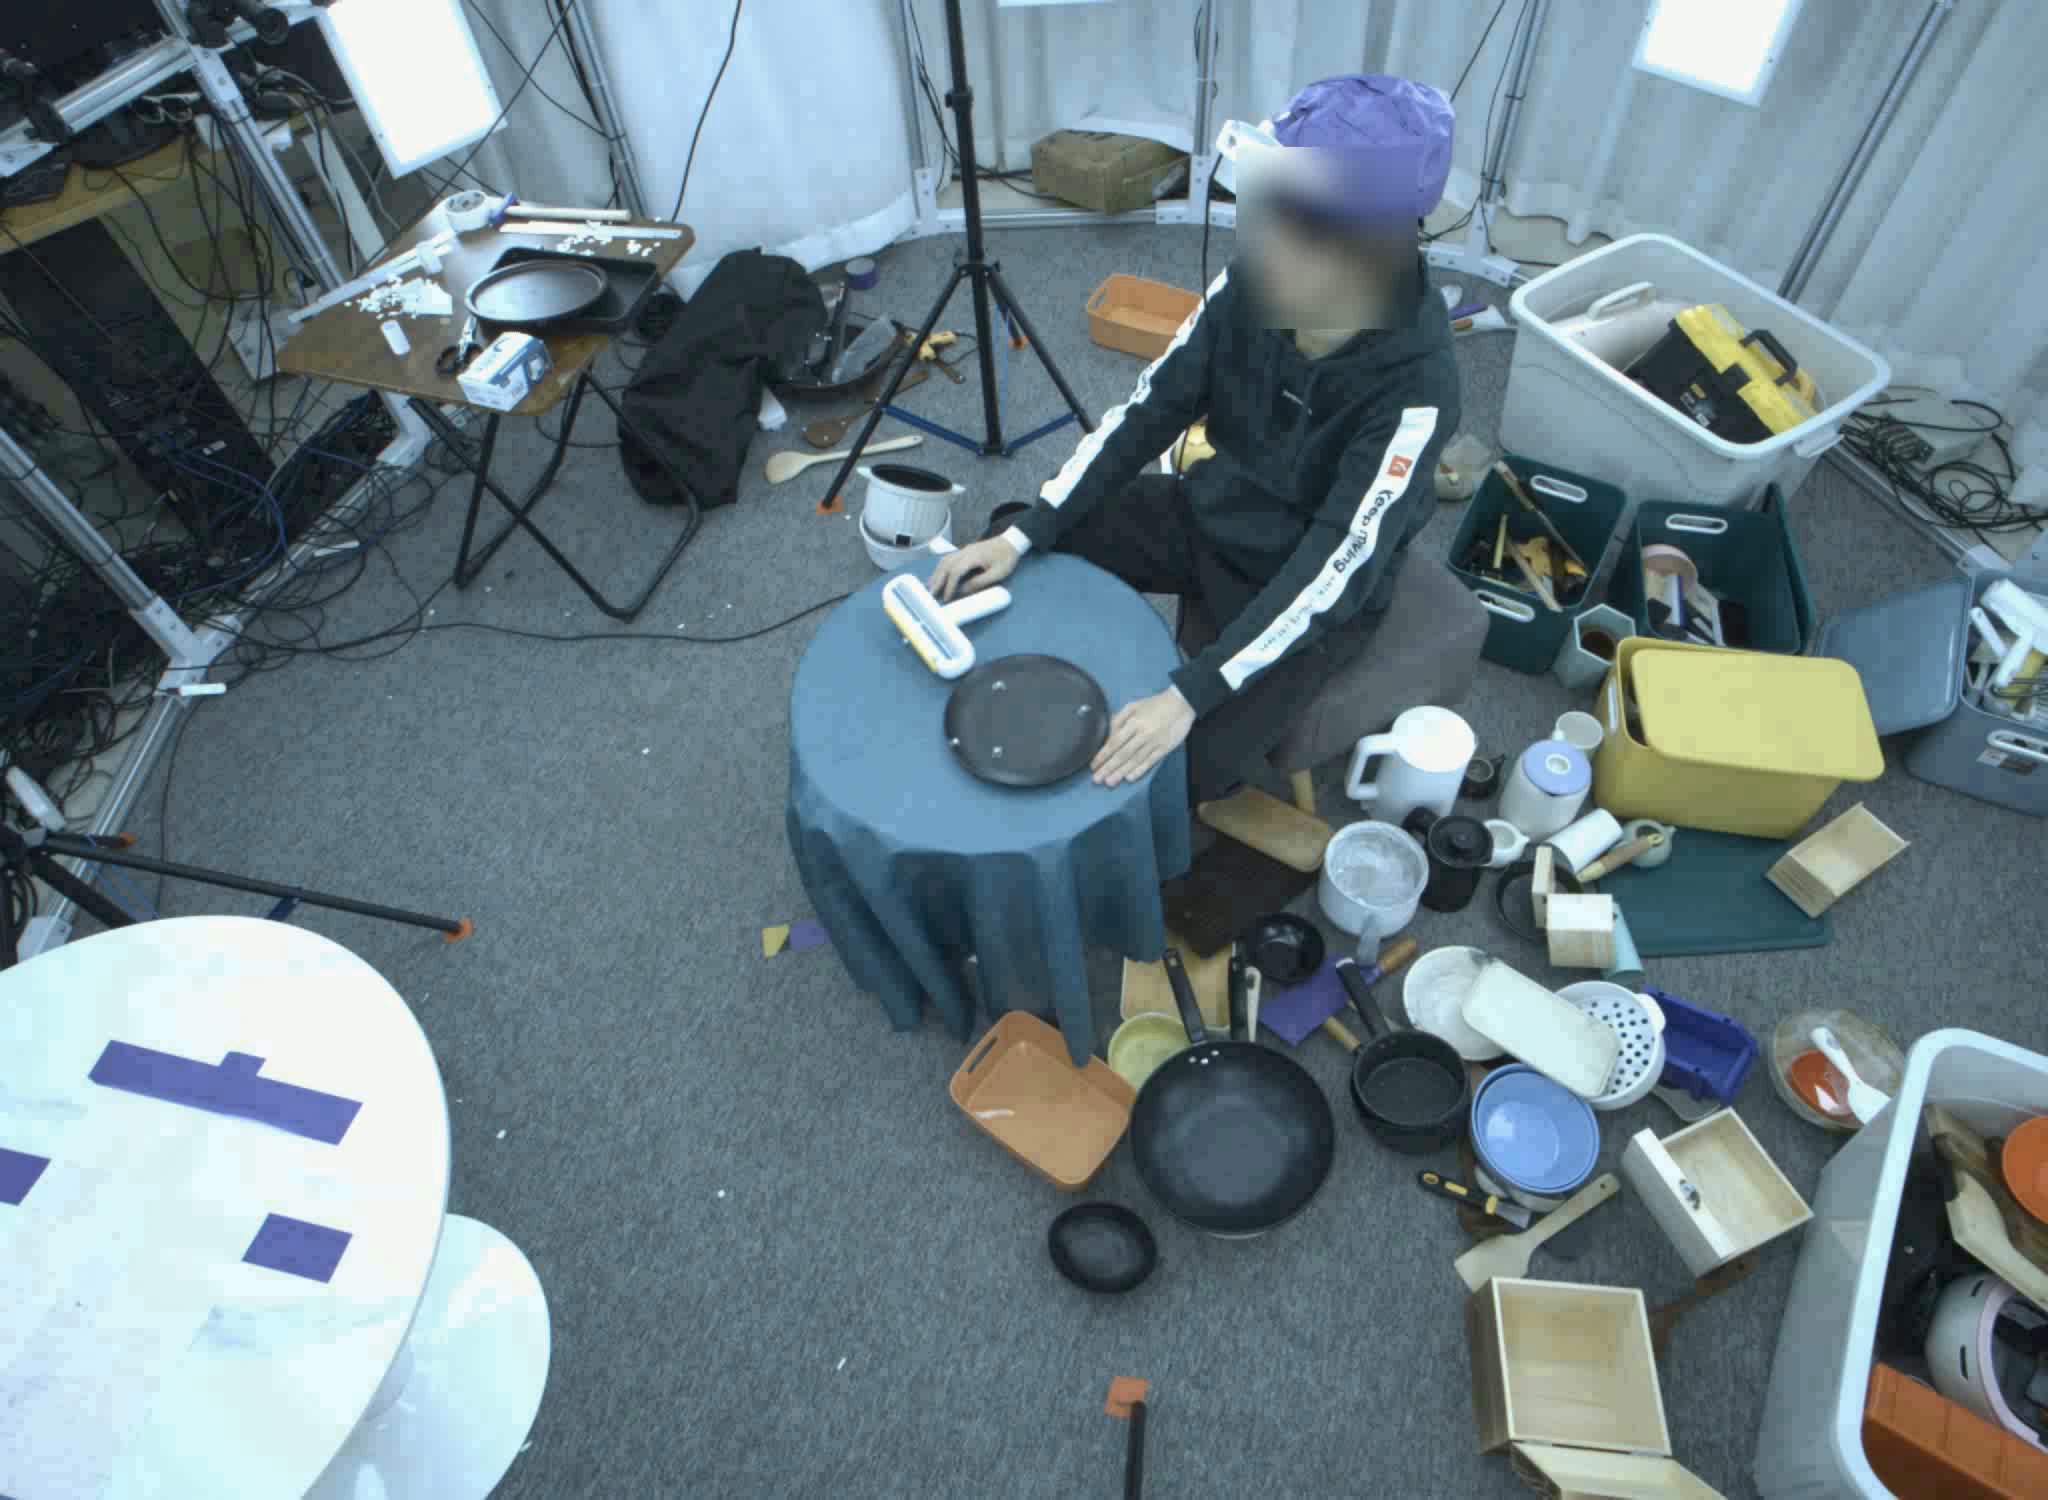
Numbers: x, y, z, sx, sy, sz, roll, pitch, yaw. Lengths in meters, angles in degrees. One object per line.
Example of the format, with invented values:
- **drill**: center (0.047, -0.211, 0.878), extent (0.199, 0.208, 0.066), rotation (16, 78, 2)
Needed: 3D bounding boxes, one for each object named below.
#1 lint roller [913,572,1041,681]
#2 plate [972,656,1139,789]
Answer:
- **lint roller**: center (-0.056, -0.200, 1.908), extent (0.195, 0.074, 0.190), rotation (-18, 62, -28)
- **plate**: center (0.045, -0.038, 1.794), extent (0.244, 0.024, 0.242), rotation (-1, 54, 2)
